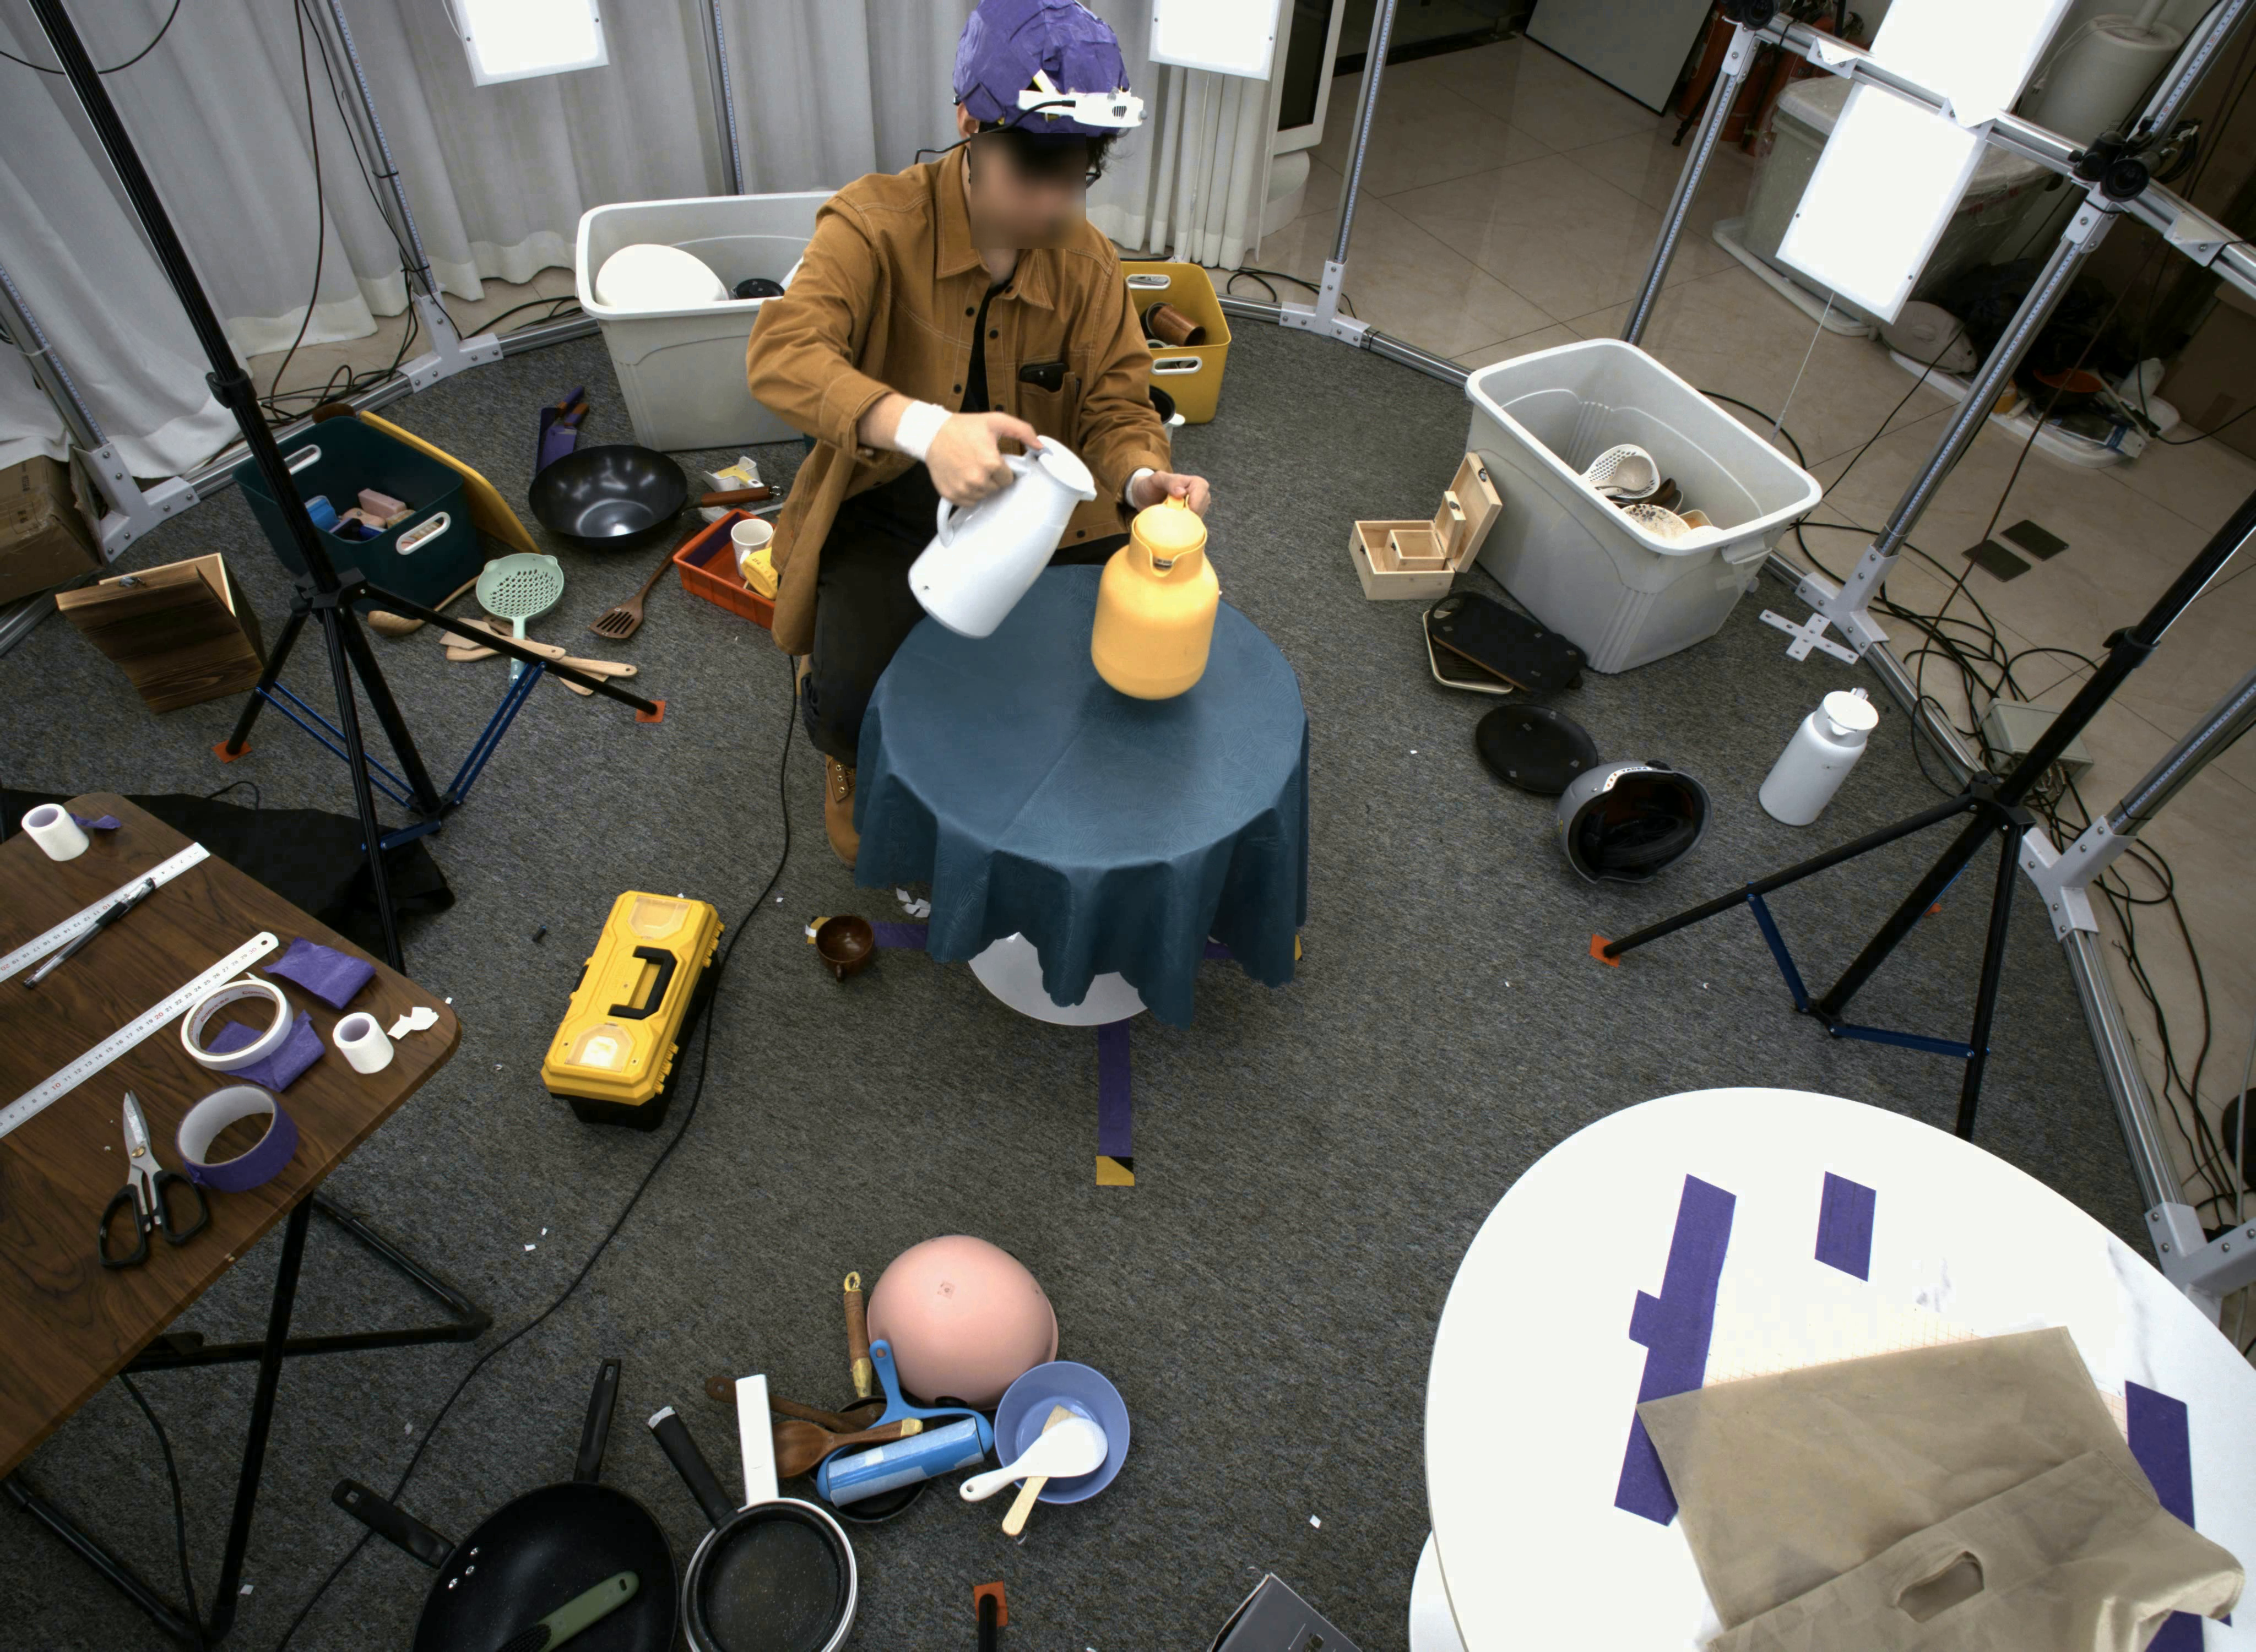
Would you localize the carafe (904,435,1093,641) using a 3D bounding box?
[{"bbox_3d":[-0.166,-0.360,1.567,0.166,0.245,0.135,15,42,-40],"label":"carafe"}]

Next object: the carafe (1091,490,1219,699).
[{"bbox_3d":[0.045,-0.318,1.731,0.163,0.254,0.207,14,50,2],"label":"carafe"}]
